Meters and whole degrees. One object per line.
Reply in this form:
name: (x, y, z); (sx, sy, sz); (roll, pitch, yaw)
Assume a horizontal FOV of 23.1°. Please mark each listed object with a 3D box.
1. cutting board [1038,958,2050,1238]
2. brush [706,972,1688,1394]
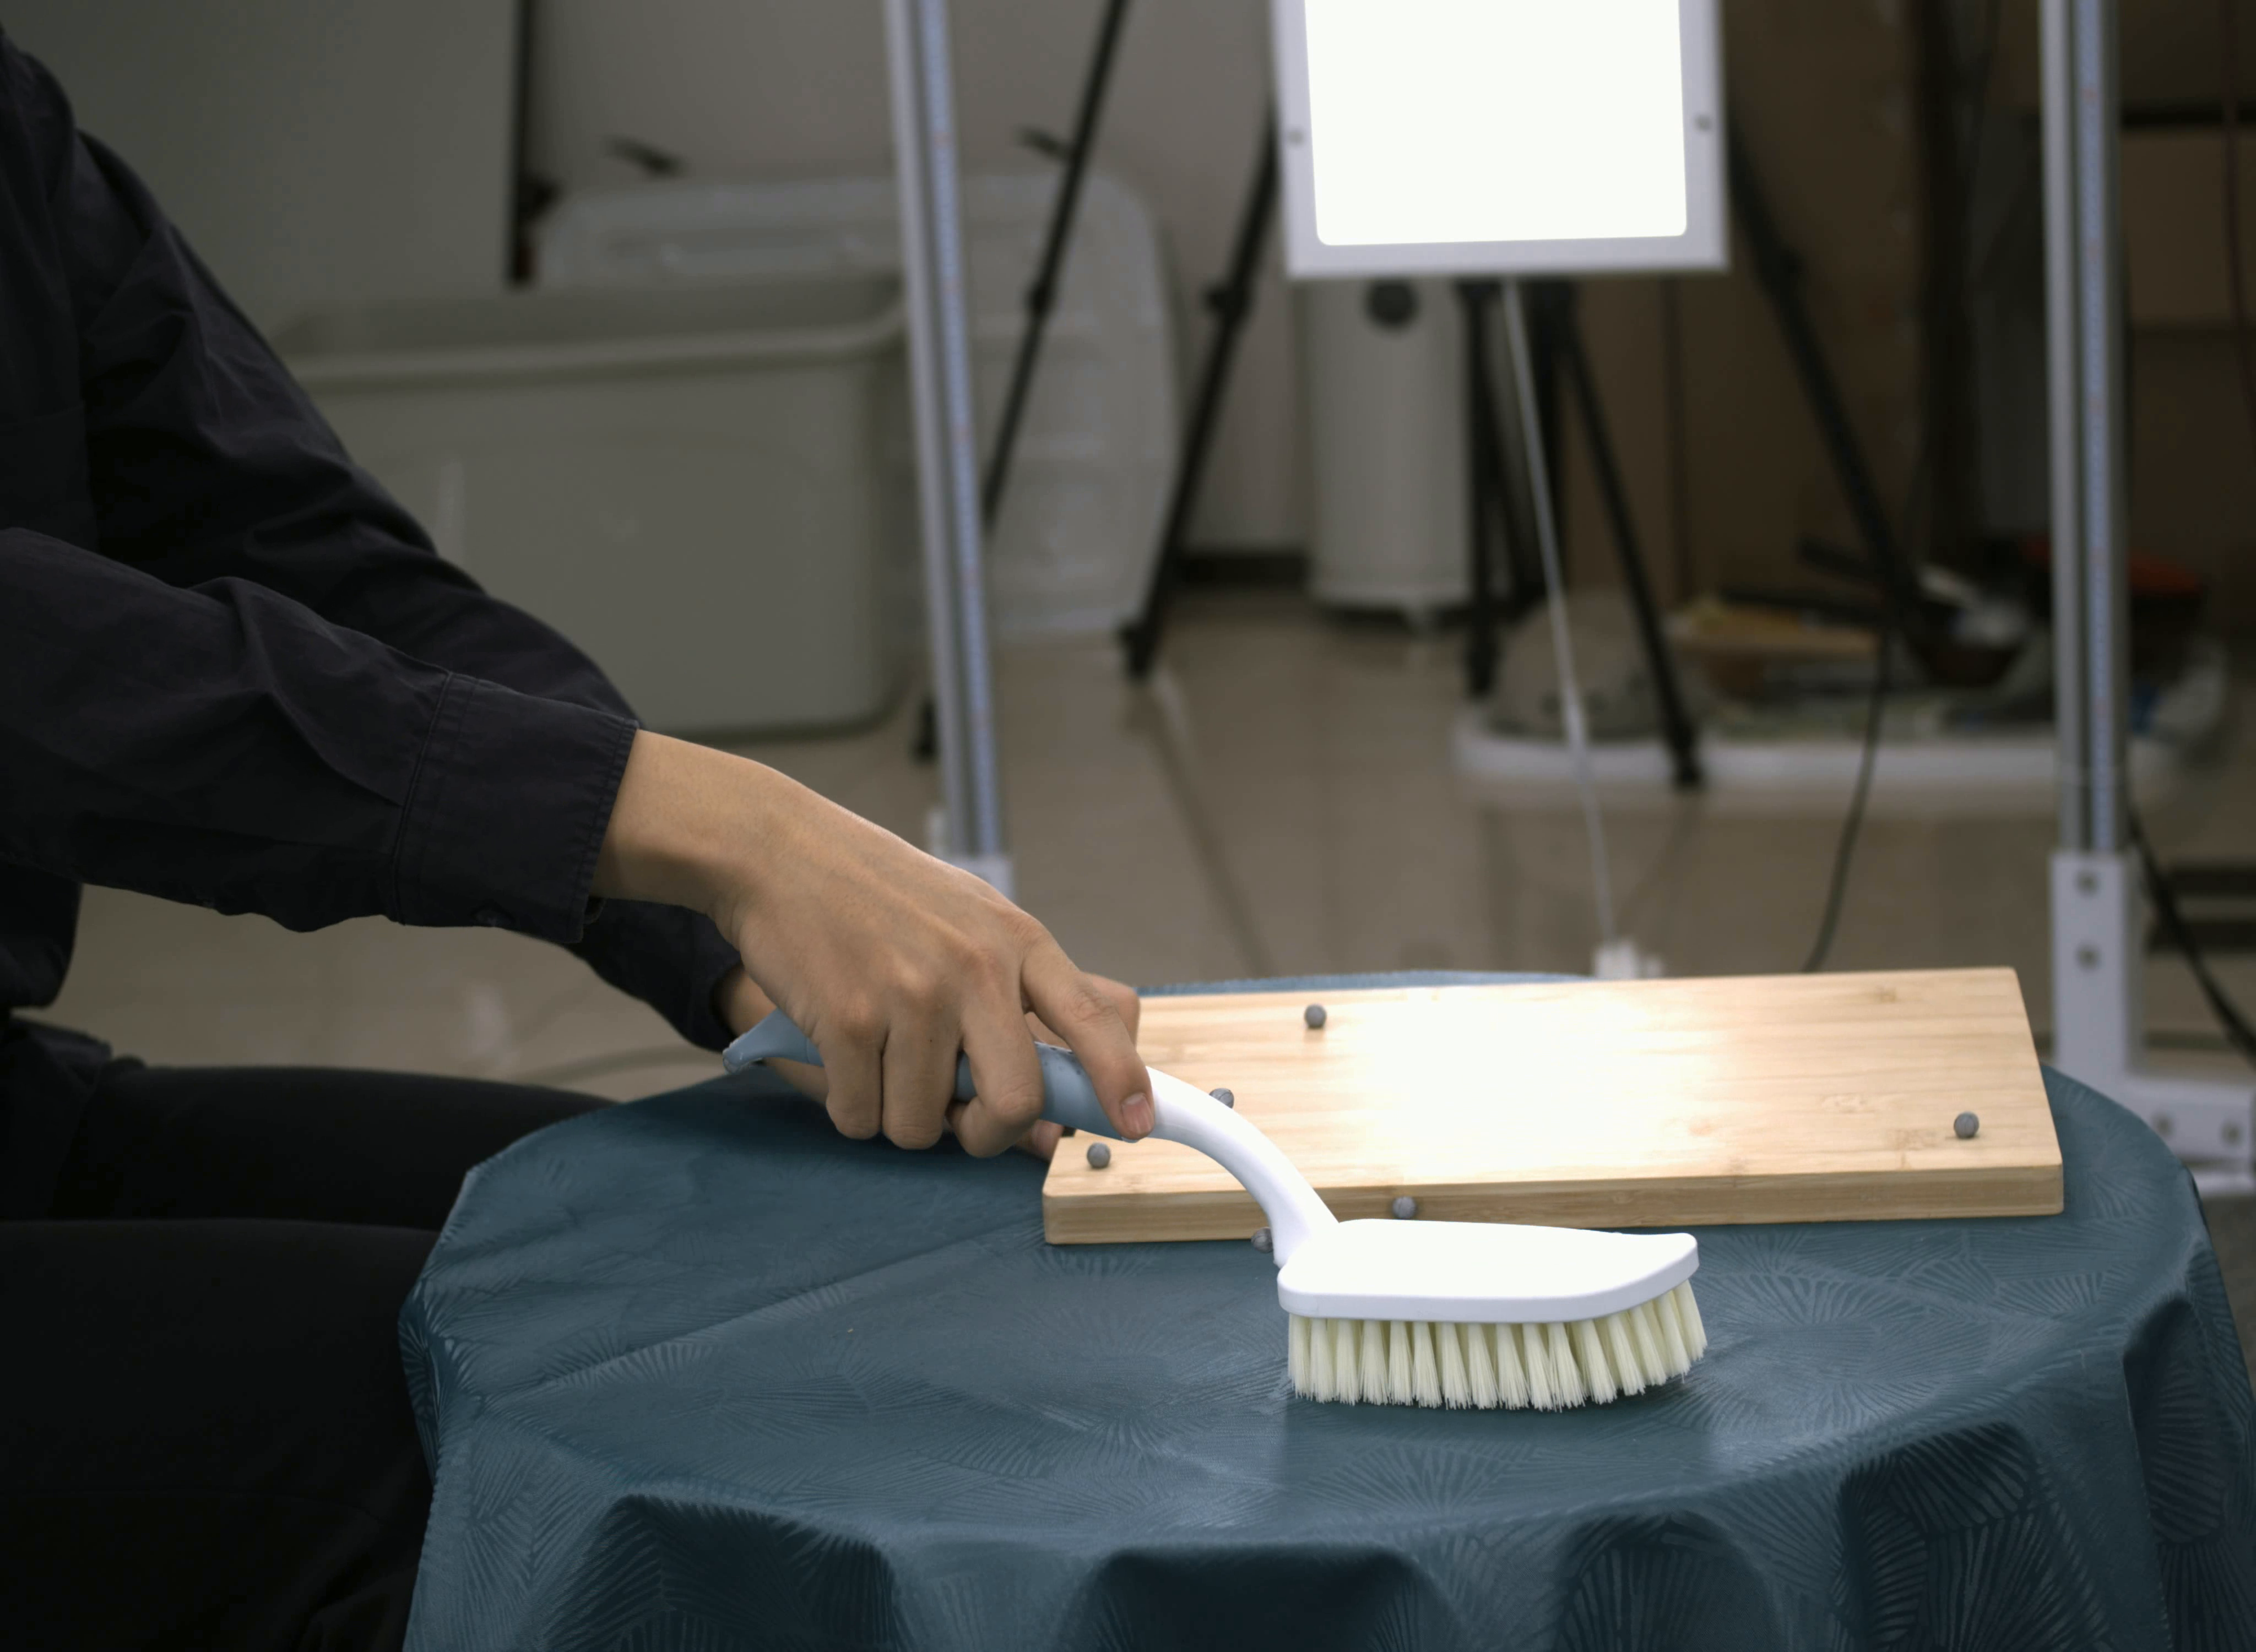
cutting board: (0.150, 0.094, 1.935); (0.349, 0.023, 0.249); (-3, 13, 6)
brush: (0.017, 0.125, 1.719); (0.329, 0.084, 0.082); (13, -18, 18)
